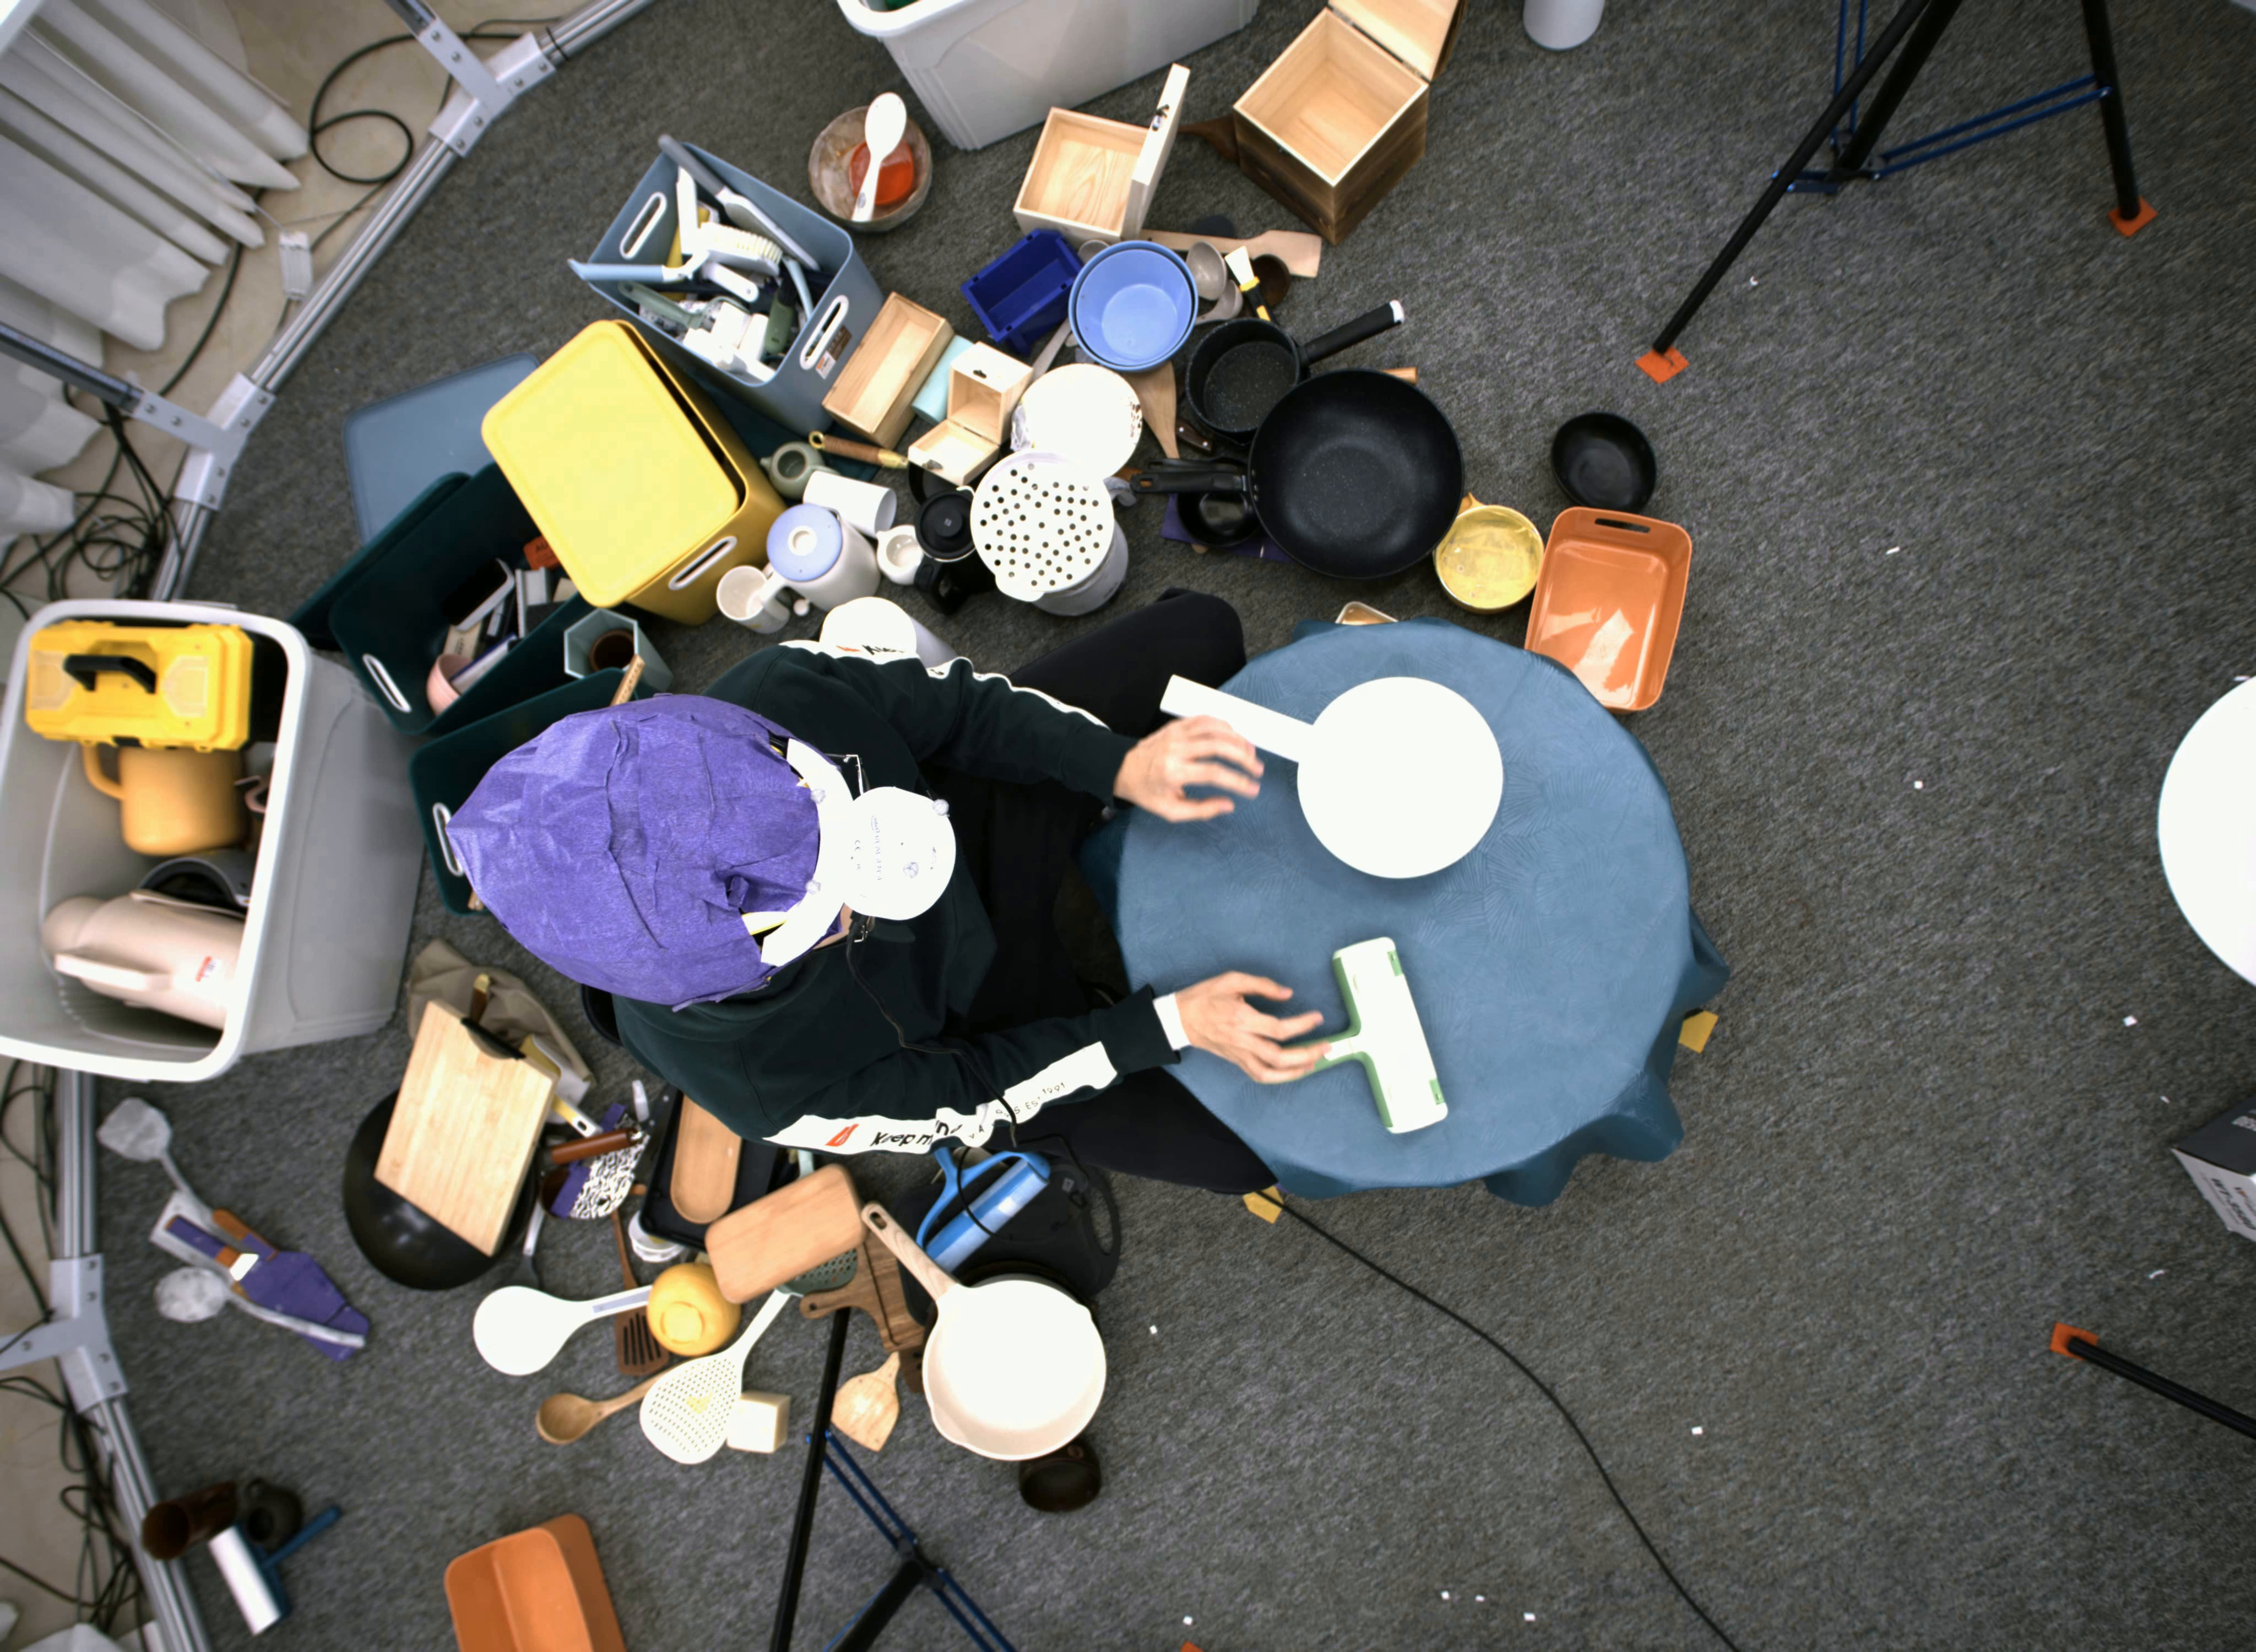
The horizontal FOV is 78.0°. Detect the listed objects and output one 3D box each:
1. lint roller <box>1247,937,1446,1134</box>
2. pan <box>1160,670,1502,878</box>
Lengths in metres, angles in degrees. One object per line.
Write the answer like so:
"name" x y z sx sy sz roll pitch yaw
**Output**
"lint roller" 0.211 0.229 1.420 0.184 0.082 0.197 -17 84 4
"pan" 0.206 -0.074 1.425 0.354 0.102 0.201 22 91 11
